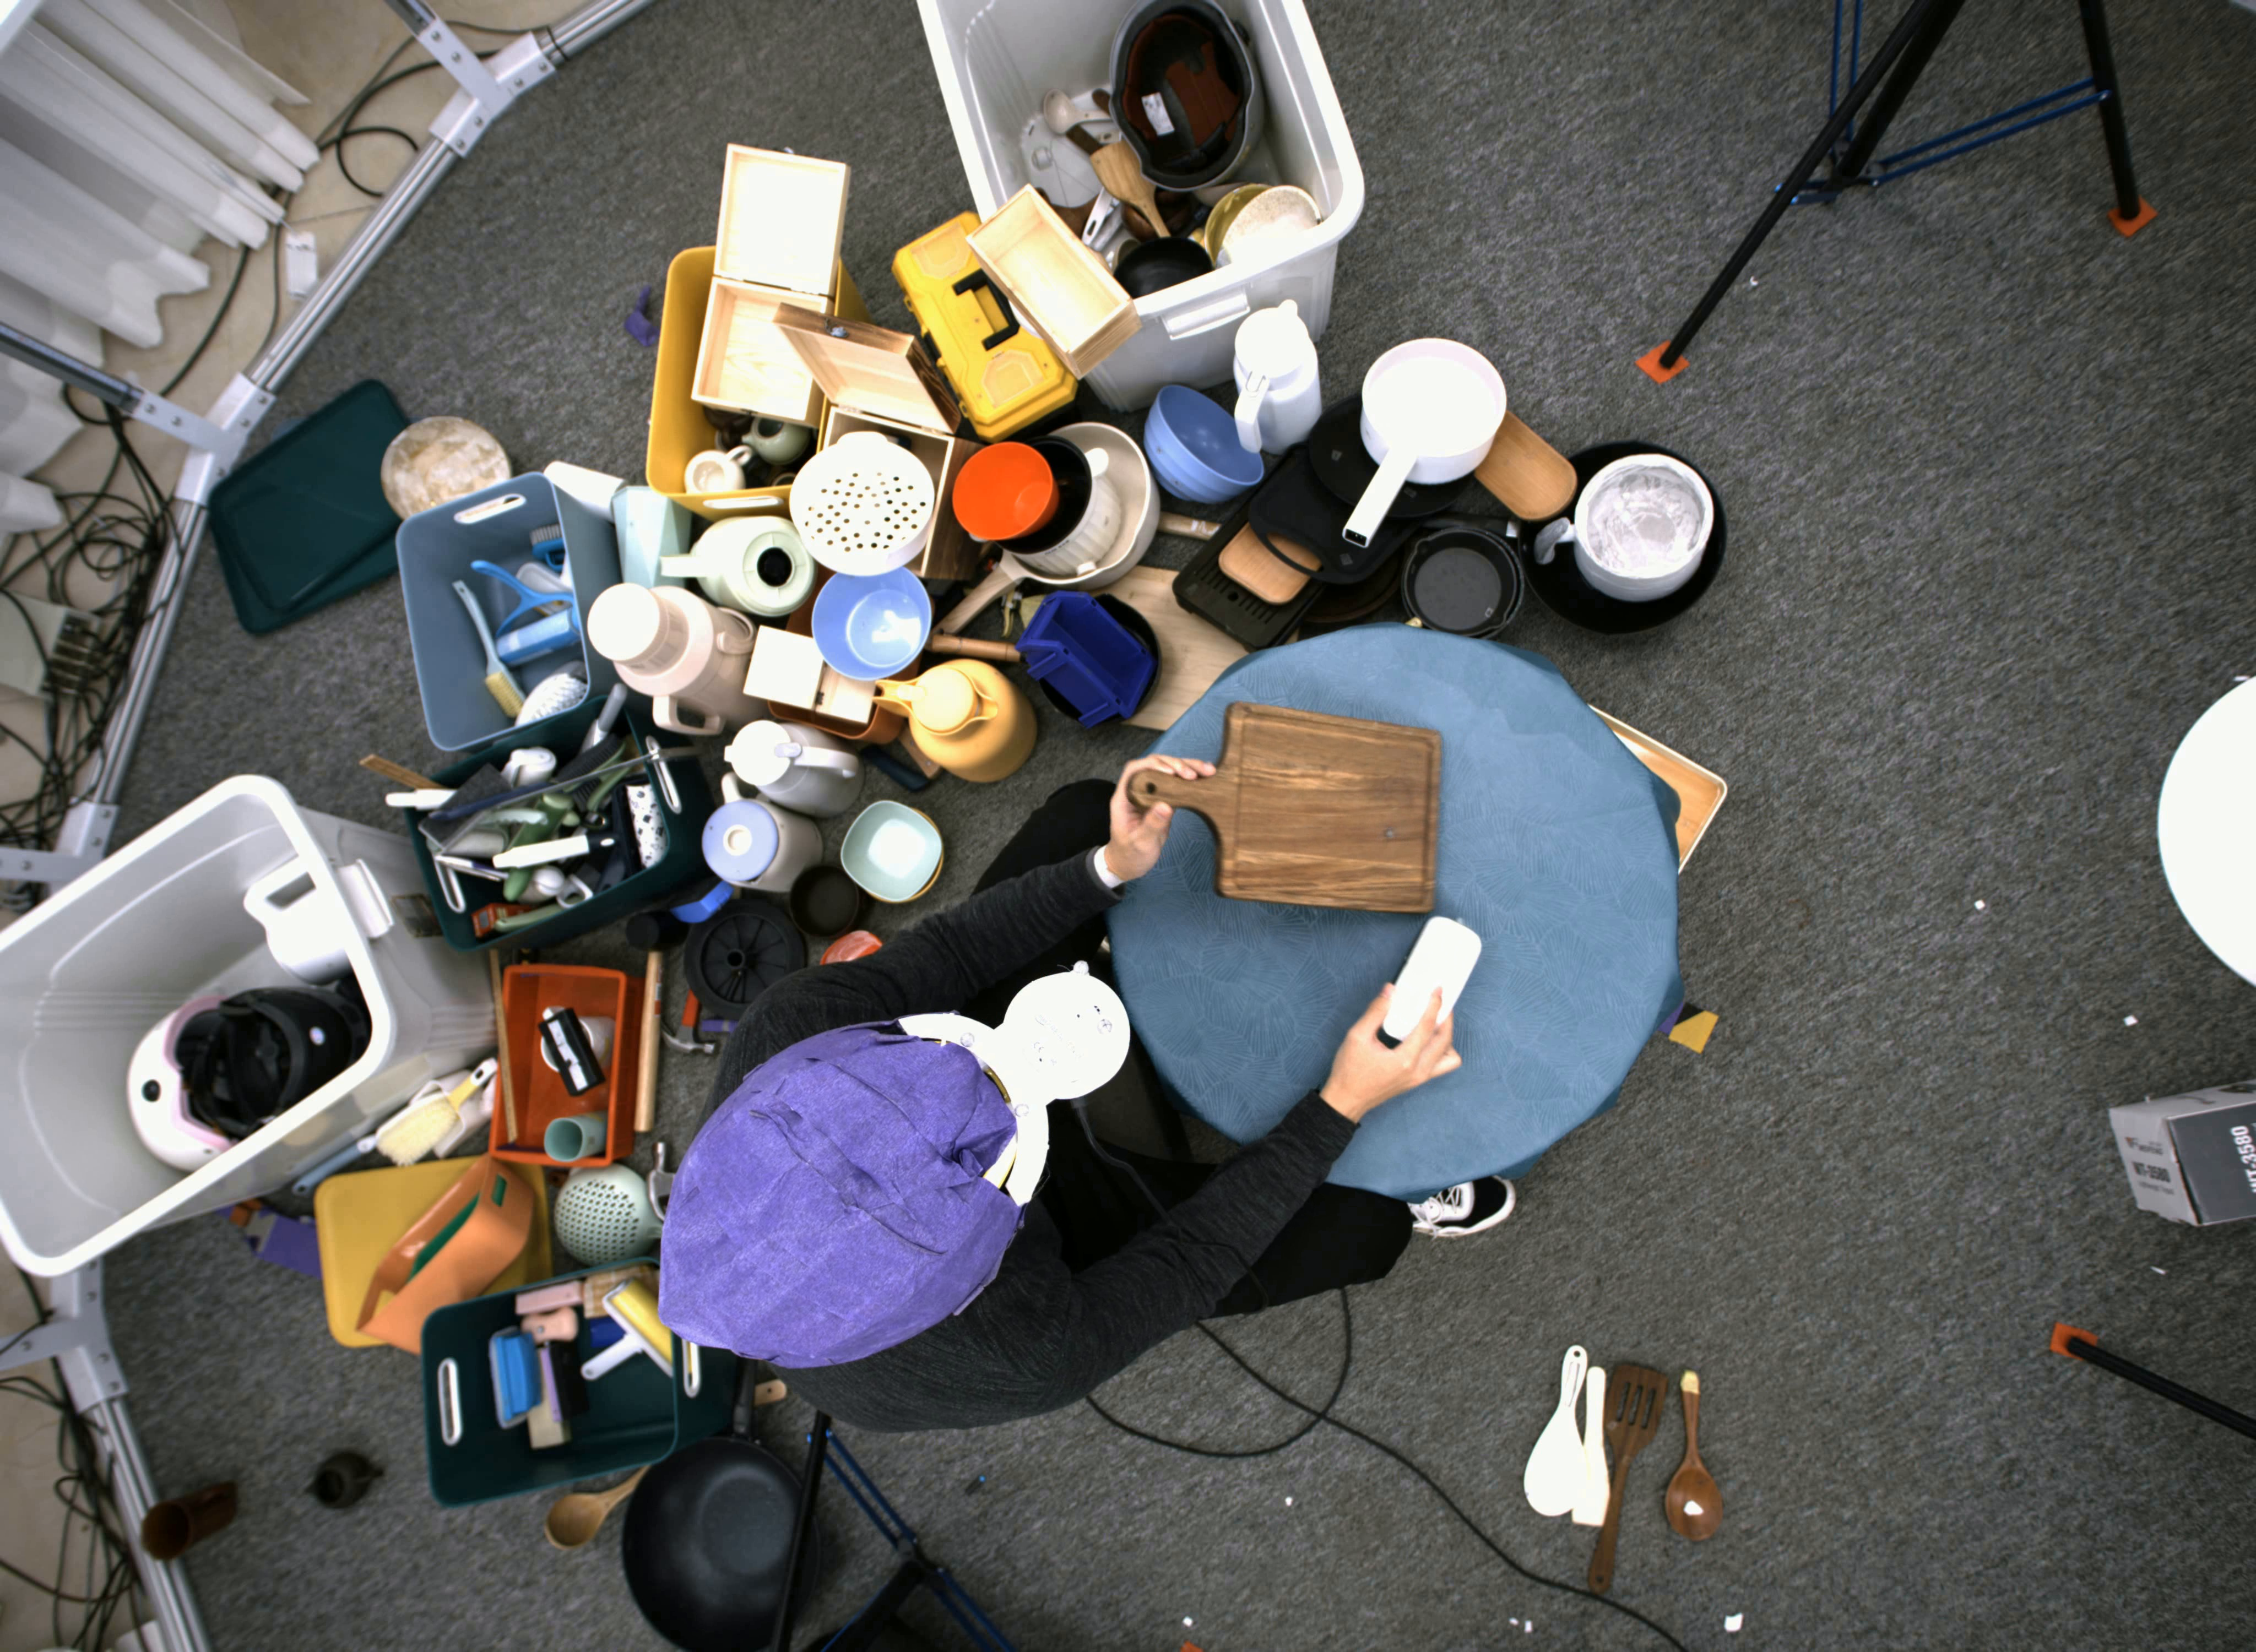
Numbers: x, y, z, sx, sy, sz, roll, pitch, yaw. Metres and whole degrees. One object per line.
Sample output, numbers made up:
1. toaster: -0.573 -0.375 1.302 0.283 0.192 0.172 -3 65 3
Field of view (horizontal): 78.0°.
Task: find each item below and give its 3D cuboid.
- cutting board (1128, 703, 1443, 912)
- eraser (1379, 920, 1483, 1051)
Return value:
1. cutting board: 0.166 -0.020 1.382 0.351 0.023 0.200 4 87 -22
2. eraser: 0.305 0.159 1.395 0.064 0.034 0.131 28 93 -24
